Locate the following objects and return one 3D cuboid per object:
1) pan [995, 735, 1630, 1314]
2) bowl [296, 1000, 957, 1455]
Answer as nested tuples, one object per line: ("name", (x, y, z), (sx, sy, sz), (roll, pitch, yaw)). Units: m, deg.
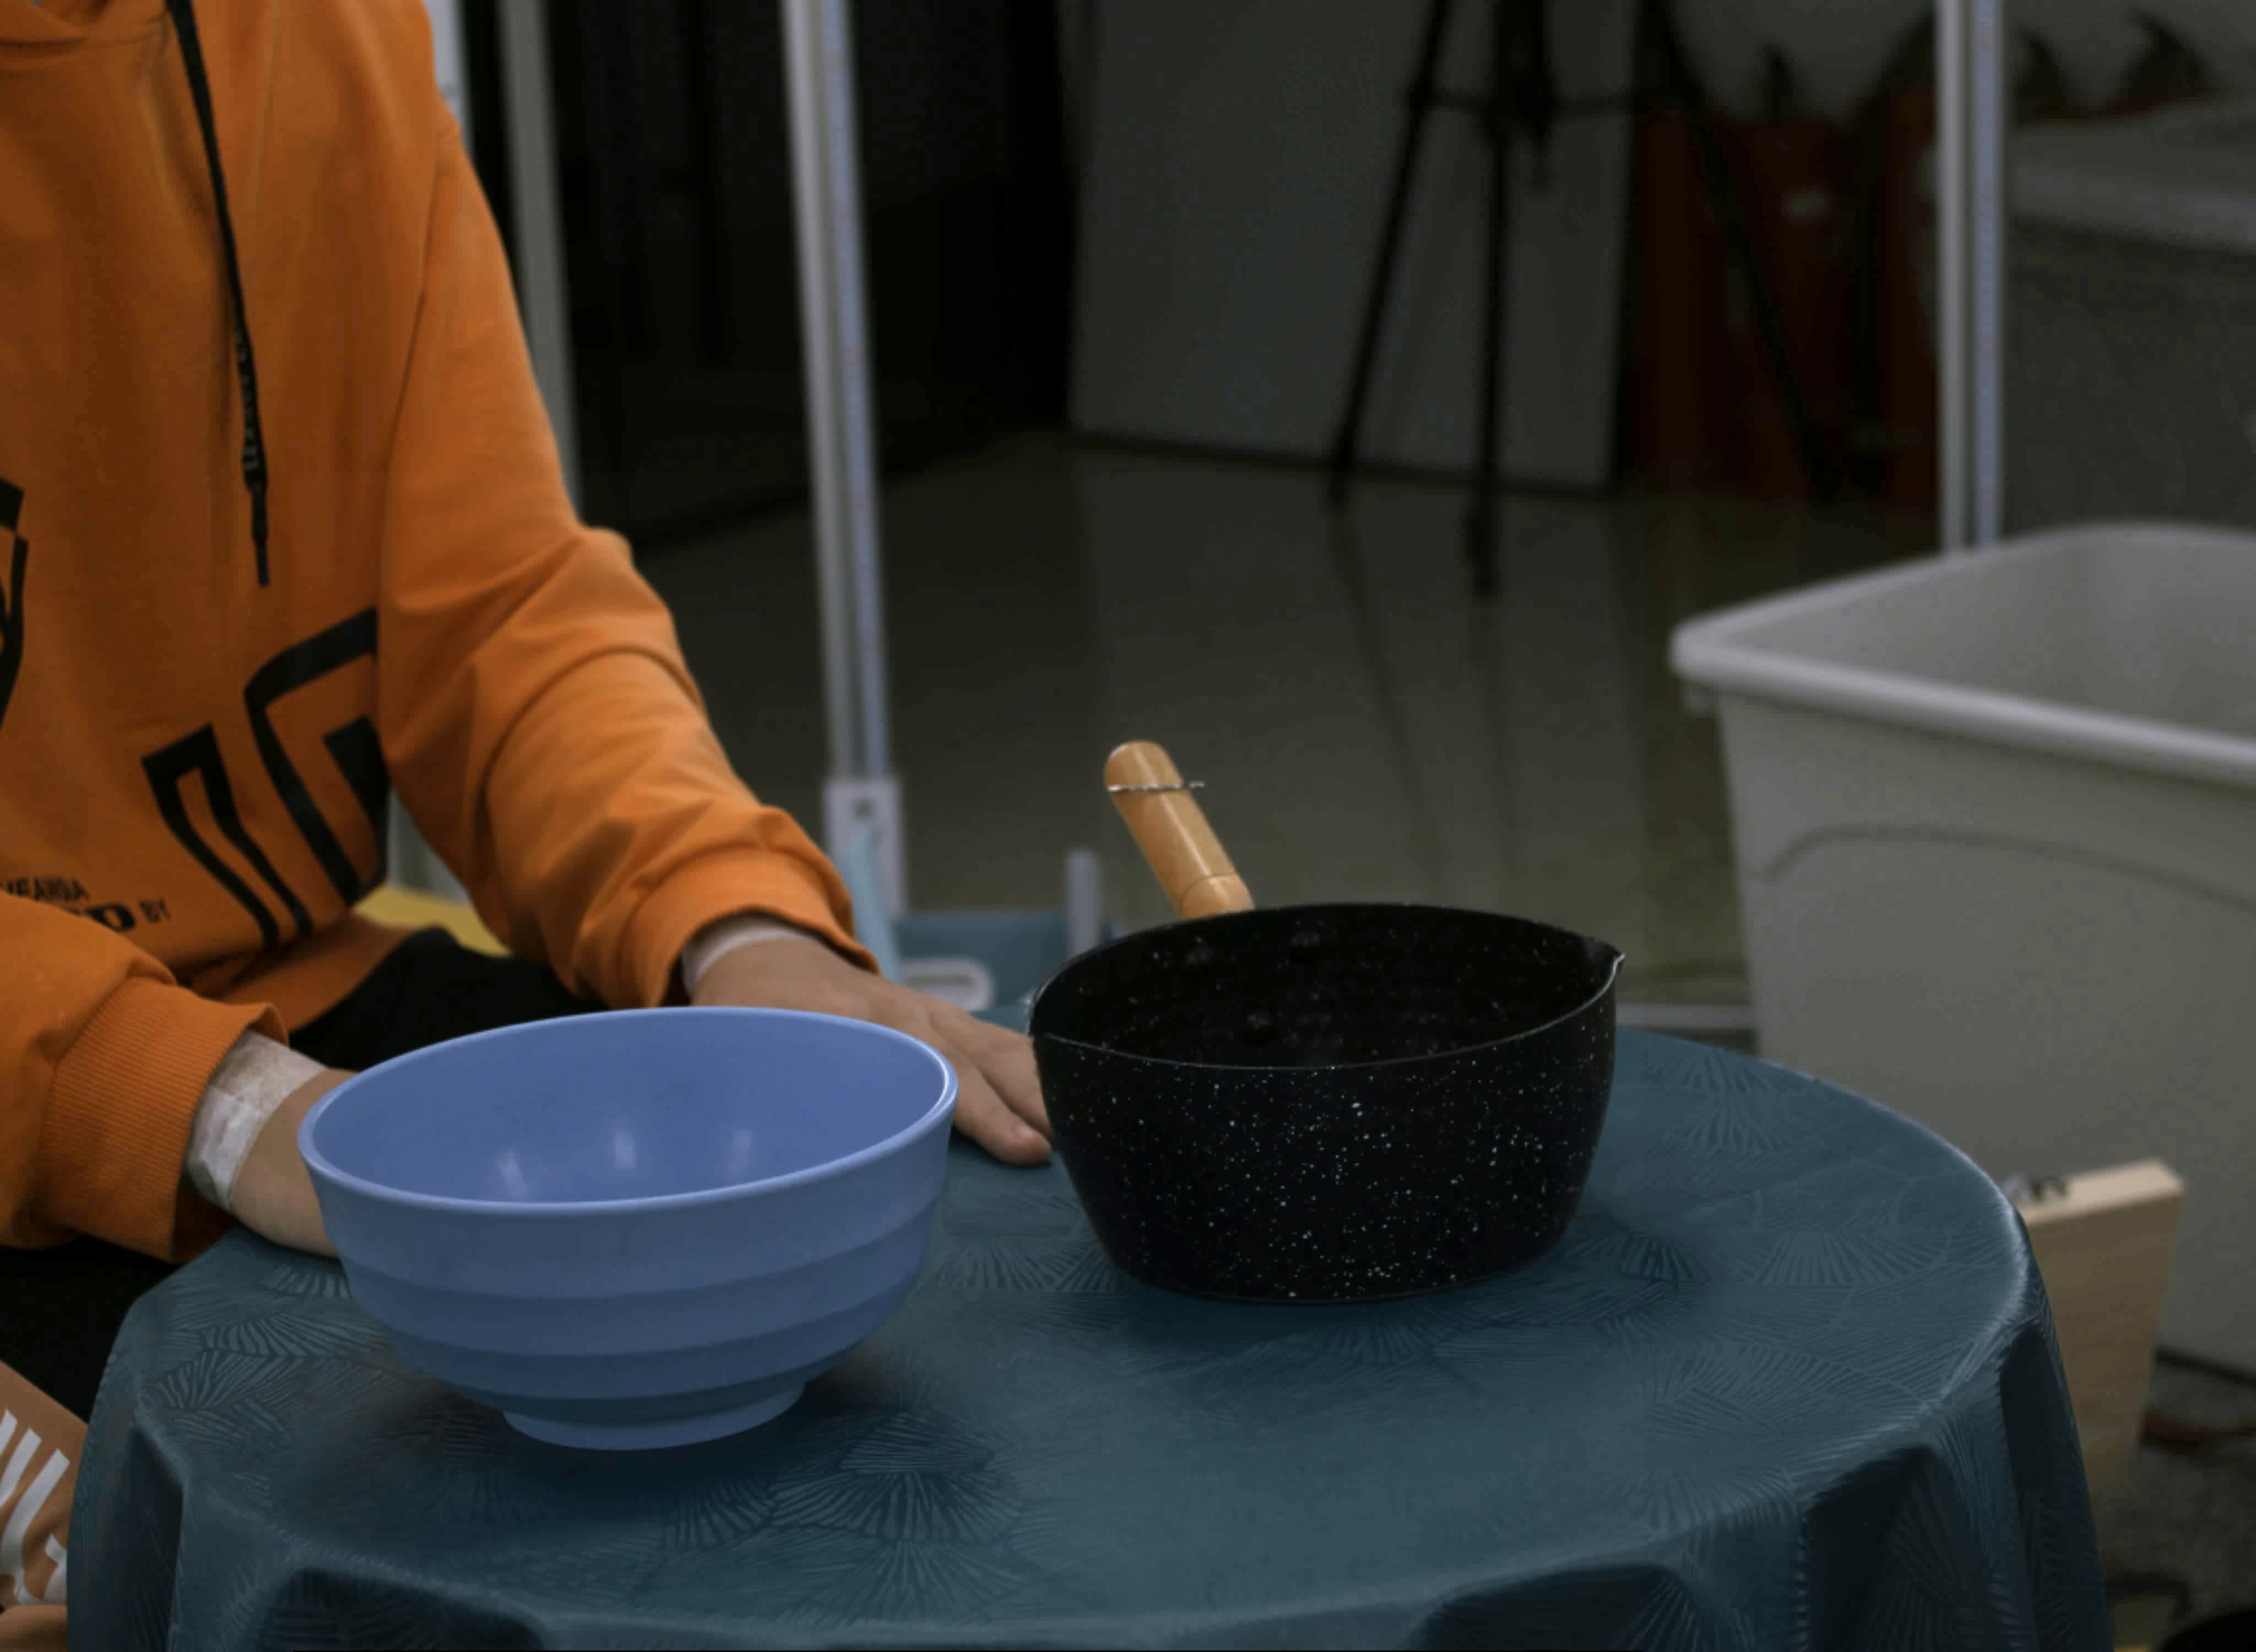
("pan", (0.043, 0.060, 1.779), (0.203, 0.109, 0.345), (-8, 16, -12))
("bowl", (-0.143, 0.124, 1.598), (0.194, 0.096, 0.197), (-4, 15, 0))
